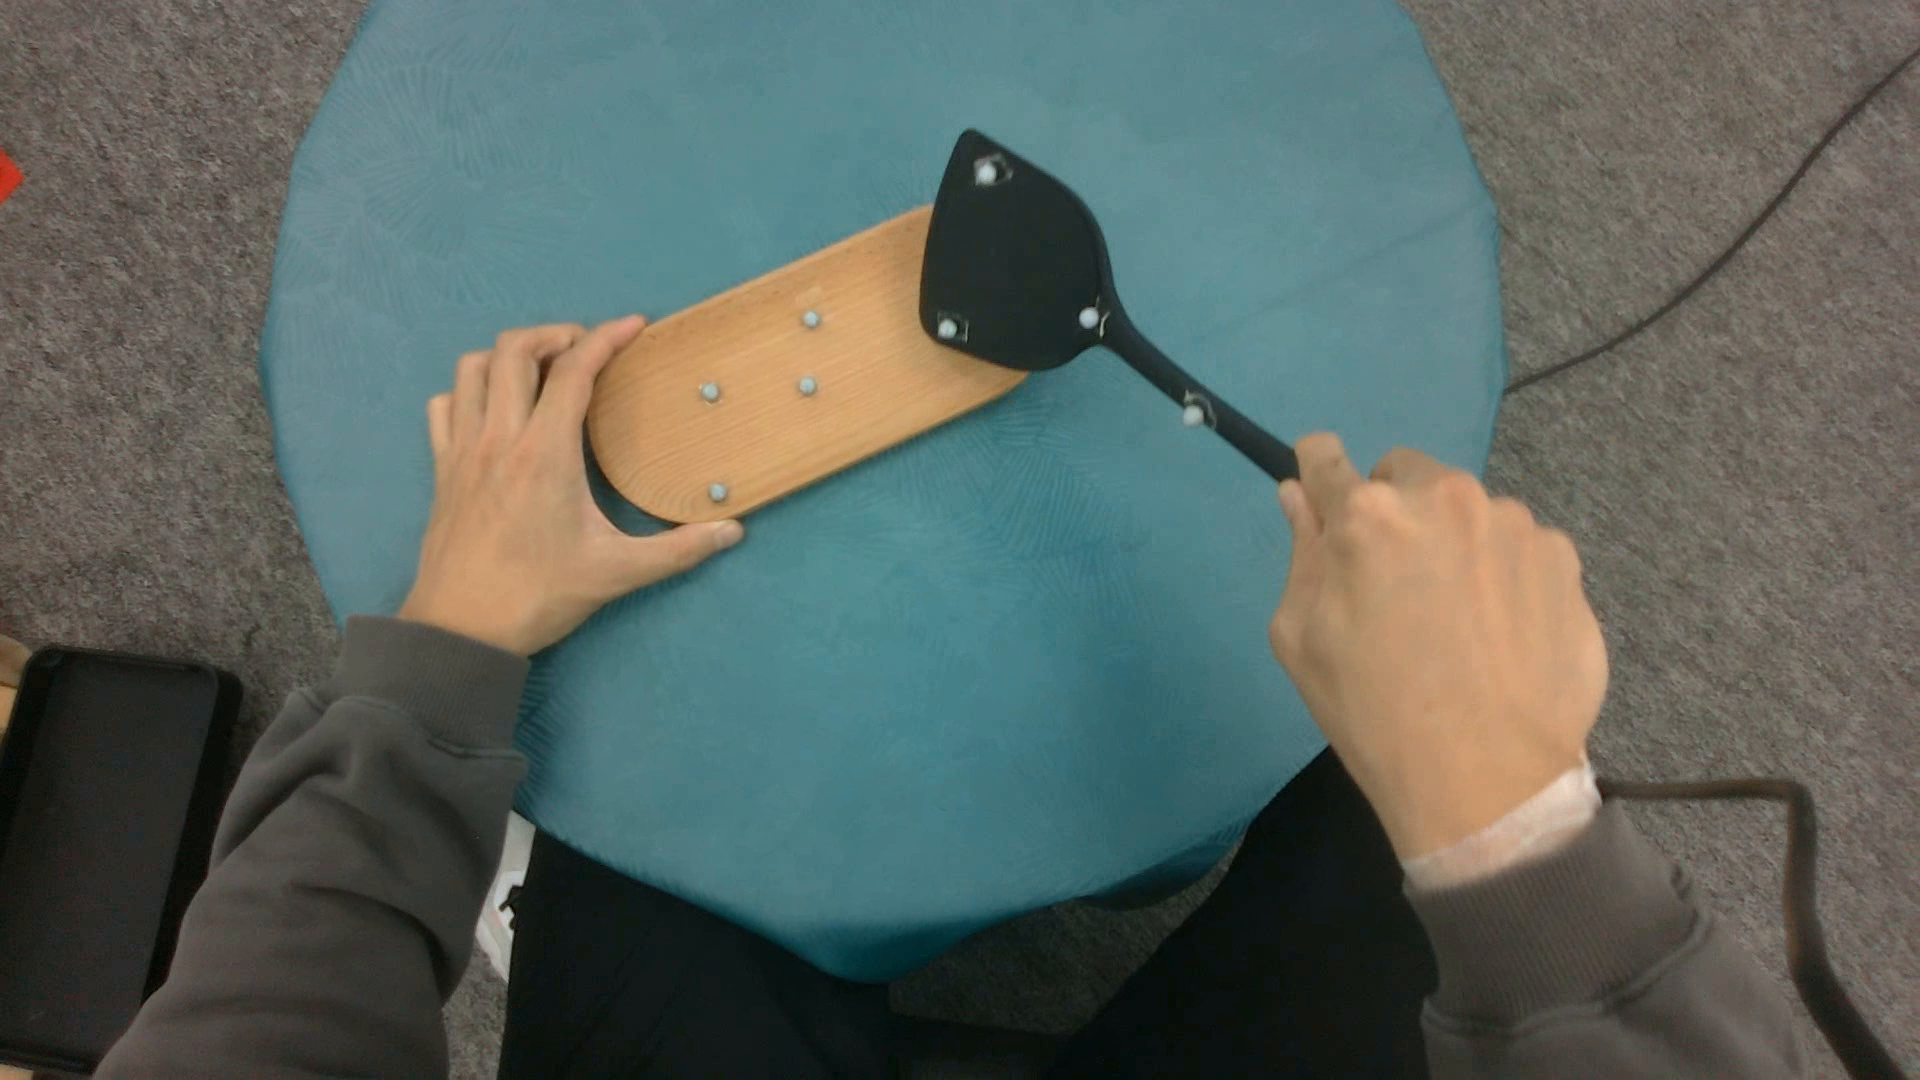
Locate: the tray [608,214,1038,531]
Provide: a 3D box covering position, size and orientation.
[{"bbox_3d":[-0.059,-0.082,0.672,0.231,0.020,0.102,-25,83,-7],"label":"tray"}]

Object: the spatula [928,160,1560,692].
[{"bbox_3d":[0.094,-0.043,0.542,0.040,0.099,0.326,-13,43,-34],"label":"spatula"}]
